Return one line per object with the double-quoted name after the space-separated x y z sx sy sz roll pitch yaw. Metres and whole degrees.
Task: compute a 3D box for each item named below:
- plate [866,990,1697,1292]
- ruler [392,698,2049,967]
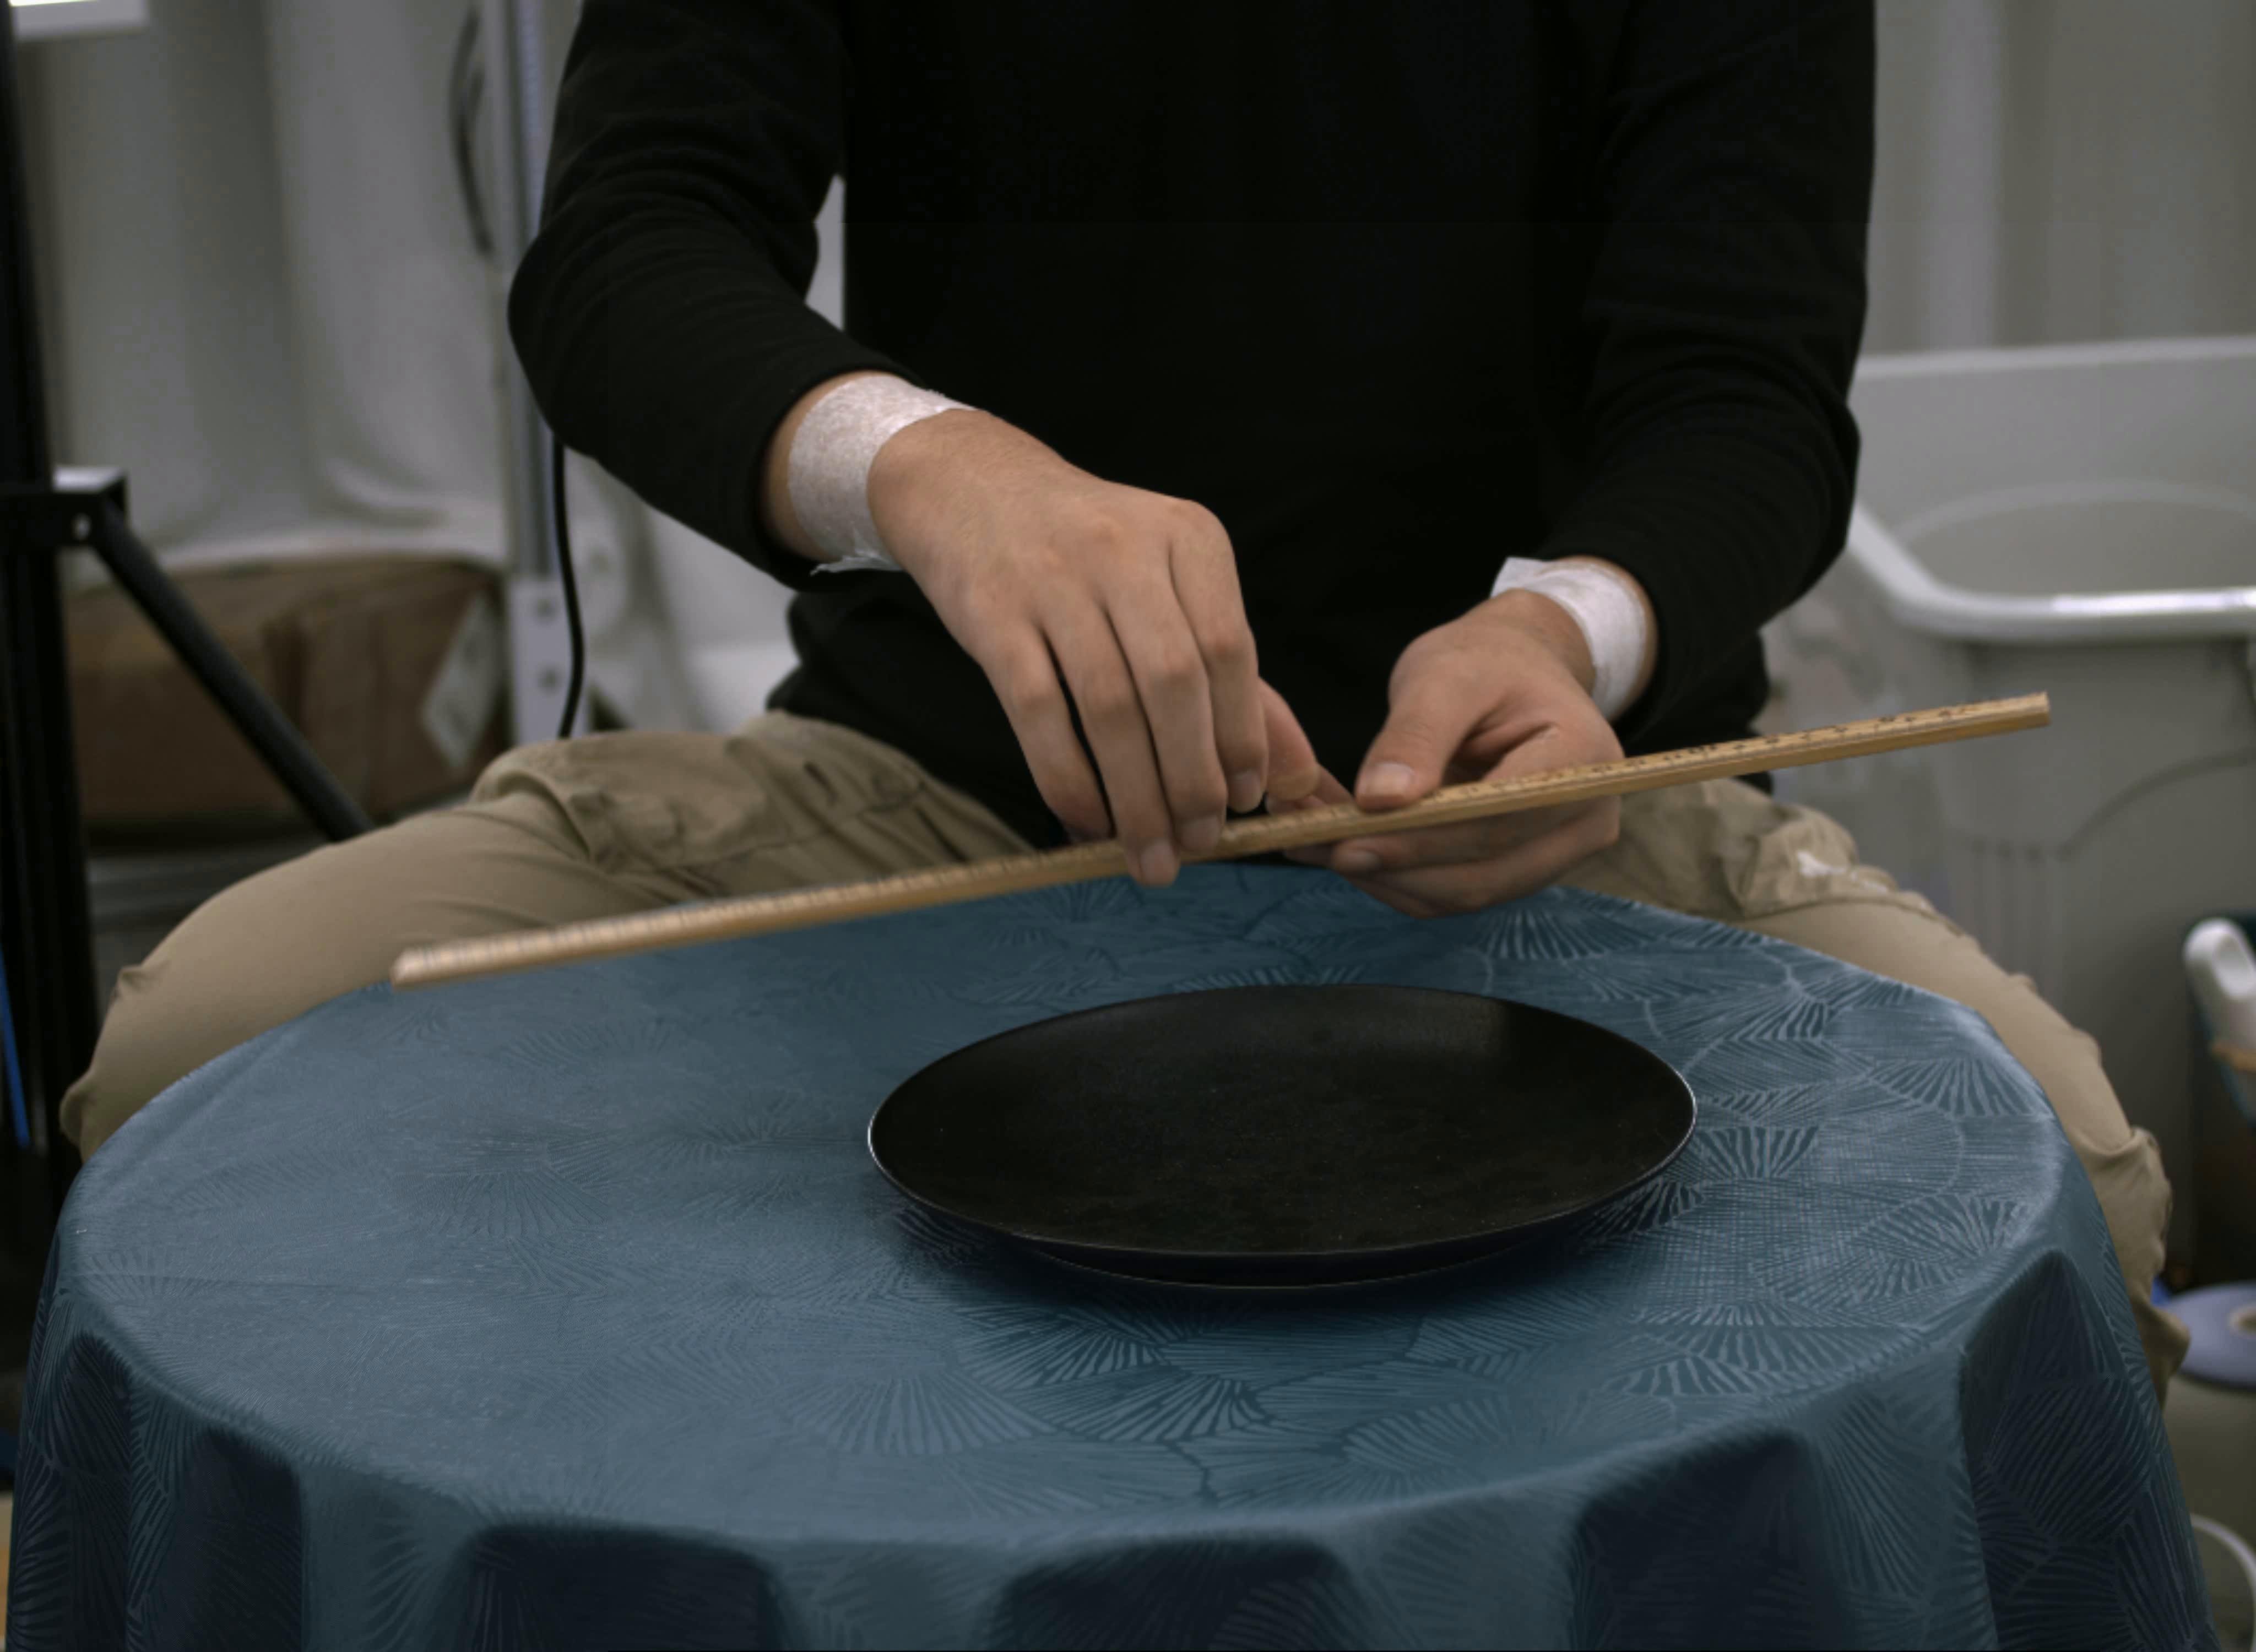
0.045 0.094 1.555 0.243 0.023 0.245 -3 15 -1 "plate"
0.021 0.003 1.570 0.503 0.006 0.026 -8 11 13 "ruler"
